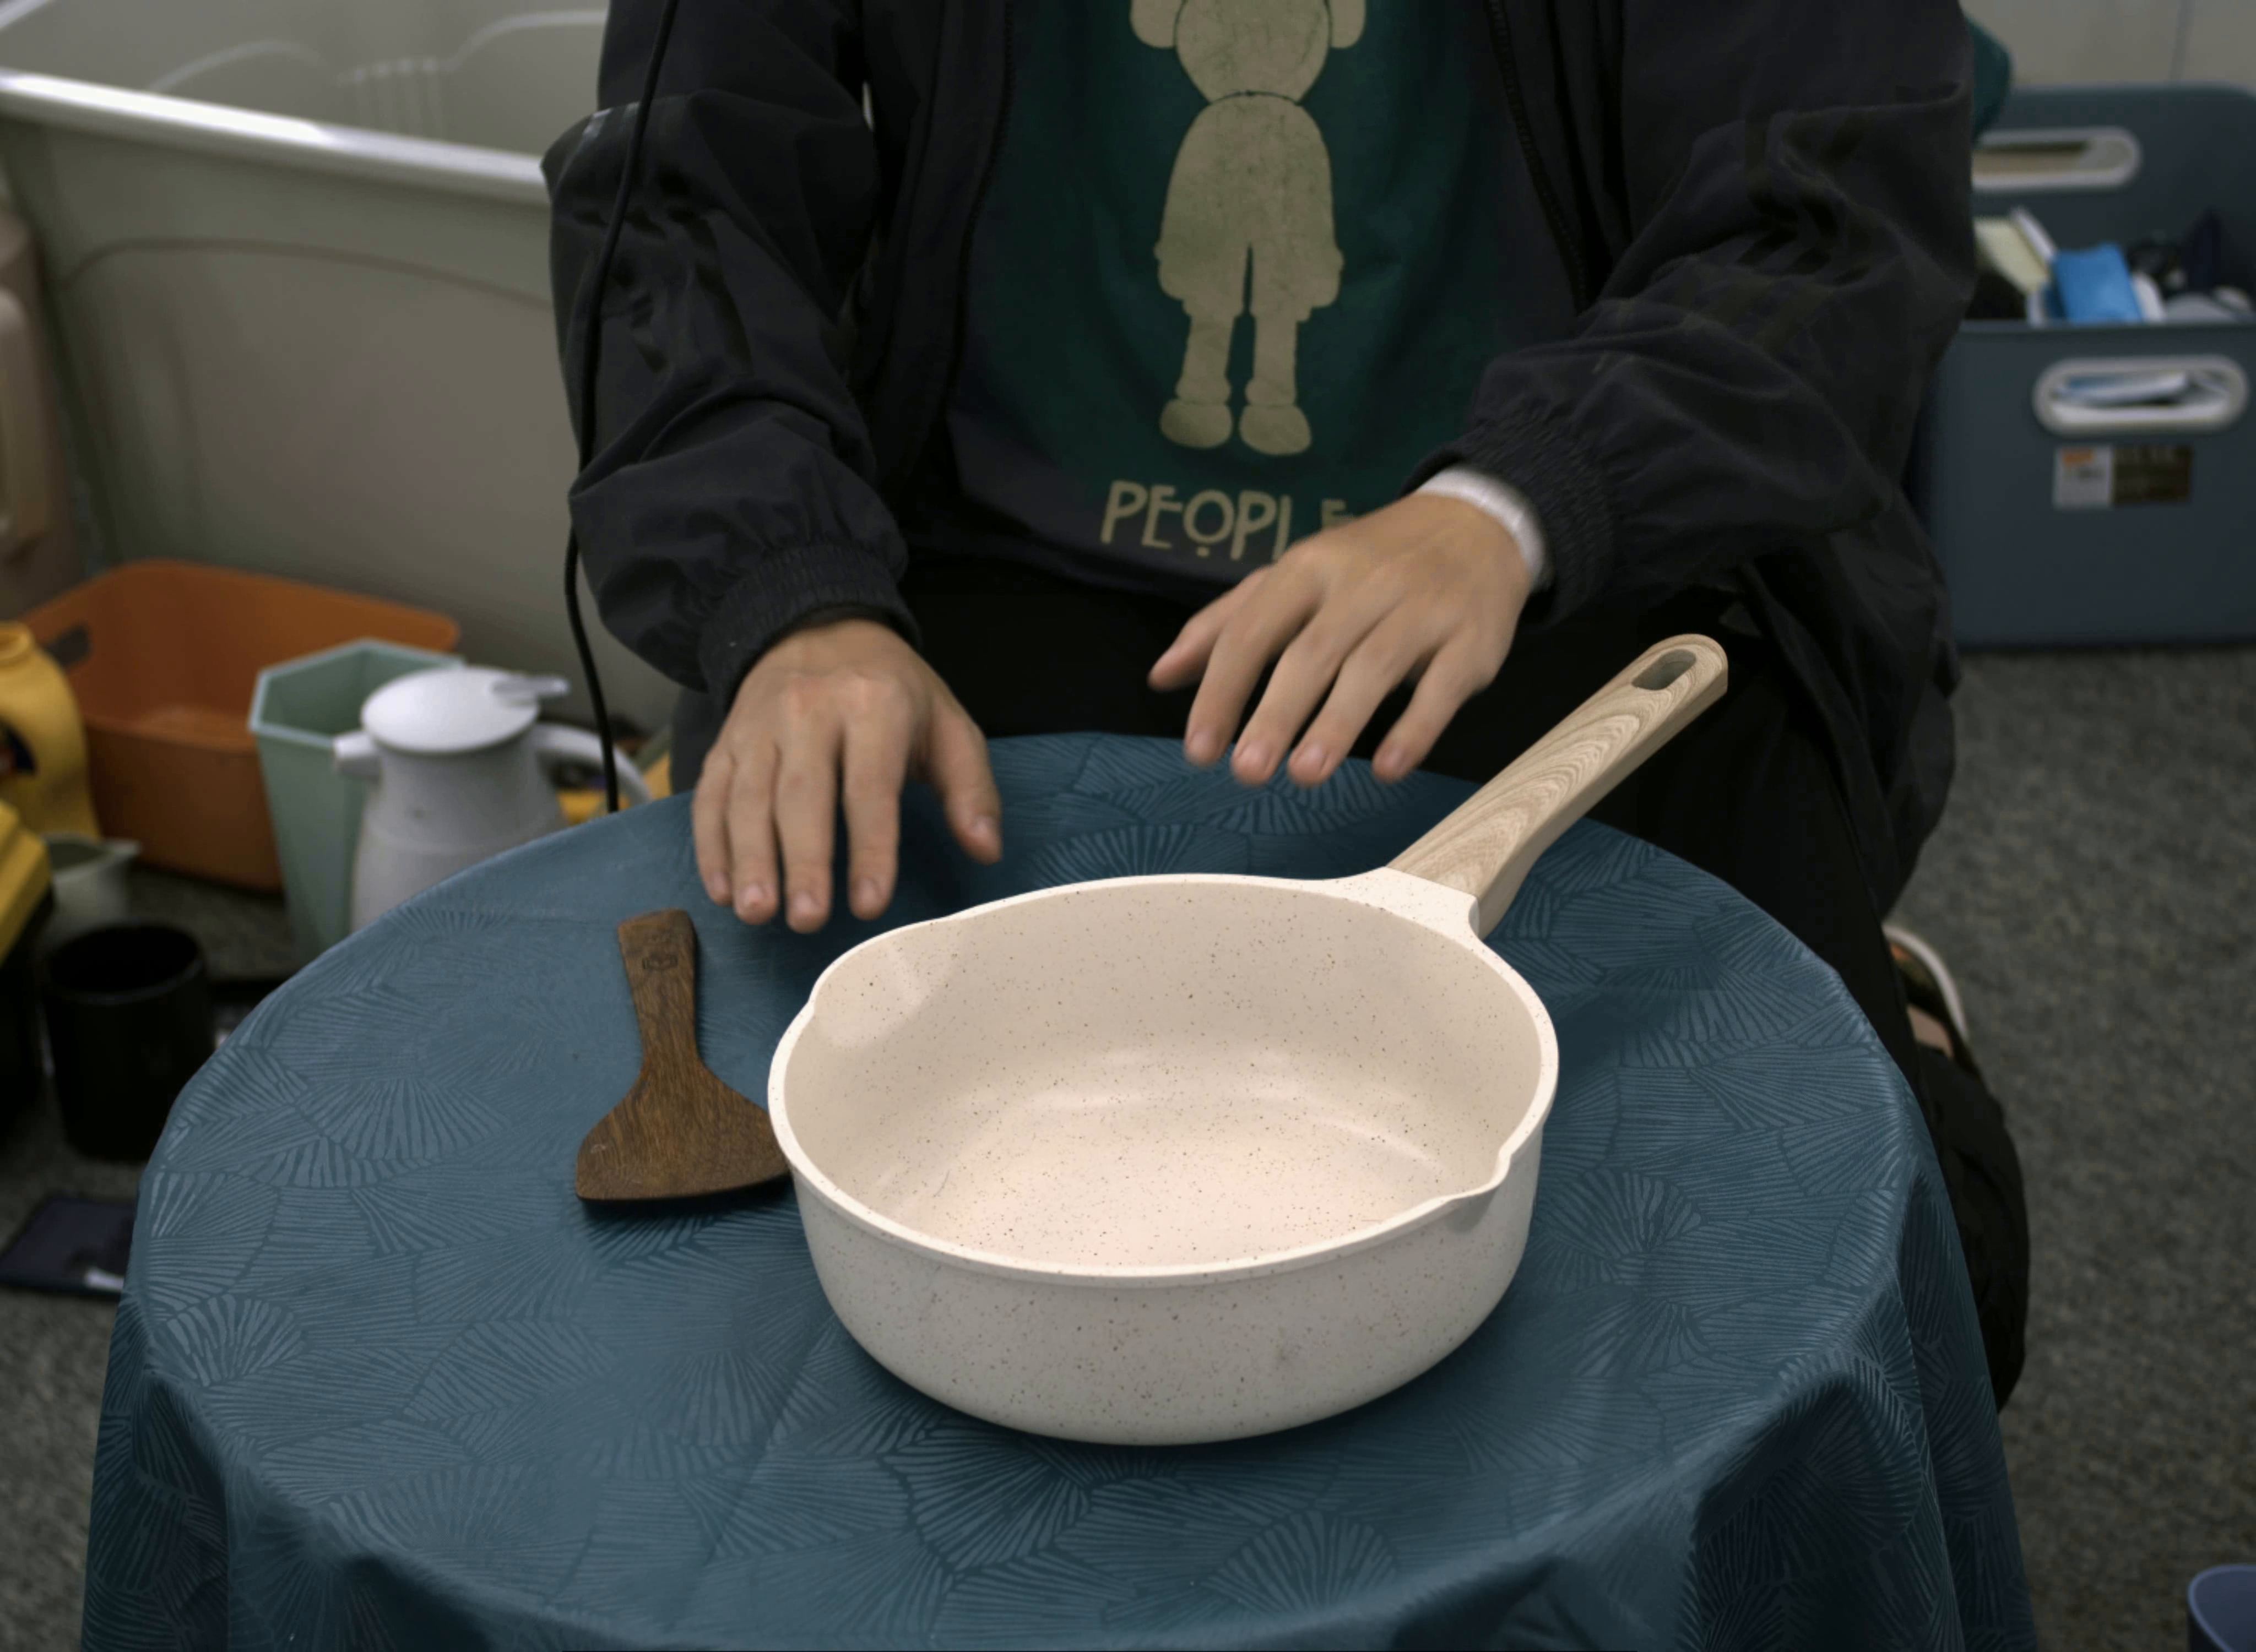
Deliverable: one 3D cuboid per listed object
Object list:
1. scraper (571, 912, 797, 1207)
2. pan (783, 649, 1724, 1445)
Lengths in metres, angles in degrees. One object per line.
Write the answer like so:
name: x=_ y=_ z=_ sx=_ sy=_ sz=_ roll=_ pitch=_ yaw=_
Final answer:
scraper: x=-0.159 y=0.080 z=1.946 sx=0.075 sy=0.011 sz=0.214 roll=-5 pitch=26 yaw=-6
pan: x=0.074 y=0.068 z=1.849 sx=0.262 sy=0.101 sz=0.441 roll=16 pitch=32 yaw=35
